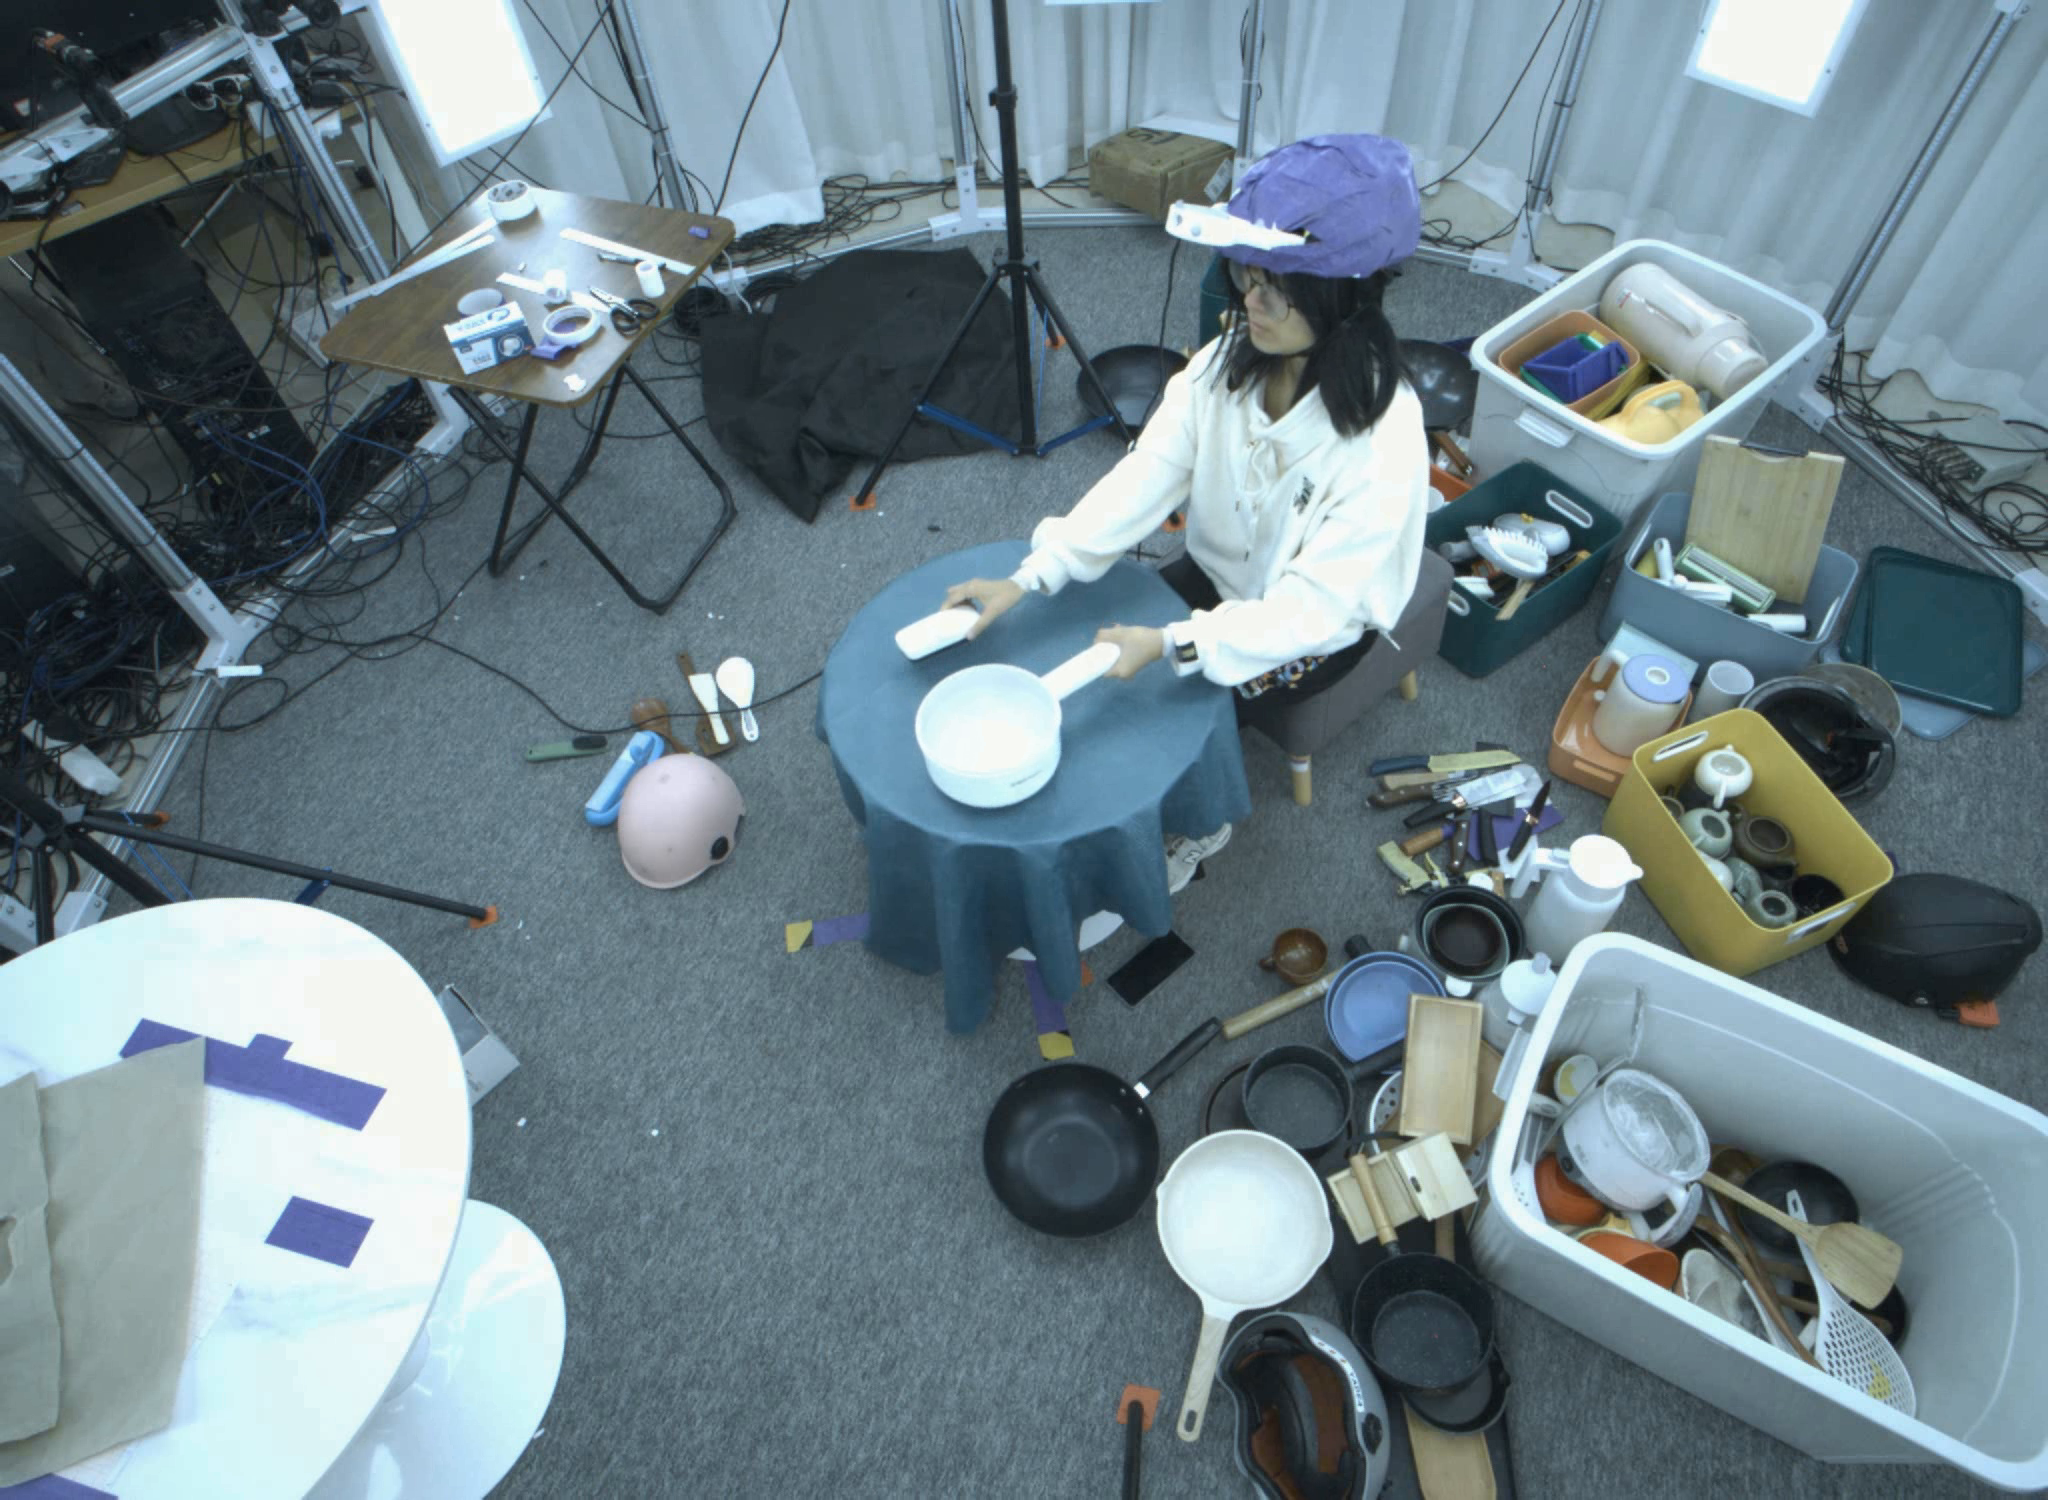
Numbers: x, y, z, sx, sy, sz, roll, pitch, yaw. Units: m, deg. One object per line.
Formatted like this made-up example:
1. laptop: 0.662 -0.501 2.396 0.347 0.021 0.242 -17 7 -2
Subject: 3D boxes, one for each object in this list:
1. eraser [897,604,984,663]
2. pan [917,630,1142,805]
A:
1. eraser: -0.125 -0.178 1.855 0.132 0.035 0.062 -25 47 -18
2. pan: 0.017 -0.055 1.758 0.358 0.103 0.197 -31 59 -21
